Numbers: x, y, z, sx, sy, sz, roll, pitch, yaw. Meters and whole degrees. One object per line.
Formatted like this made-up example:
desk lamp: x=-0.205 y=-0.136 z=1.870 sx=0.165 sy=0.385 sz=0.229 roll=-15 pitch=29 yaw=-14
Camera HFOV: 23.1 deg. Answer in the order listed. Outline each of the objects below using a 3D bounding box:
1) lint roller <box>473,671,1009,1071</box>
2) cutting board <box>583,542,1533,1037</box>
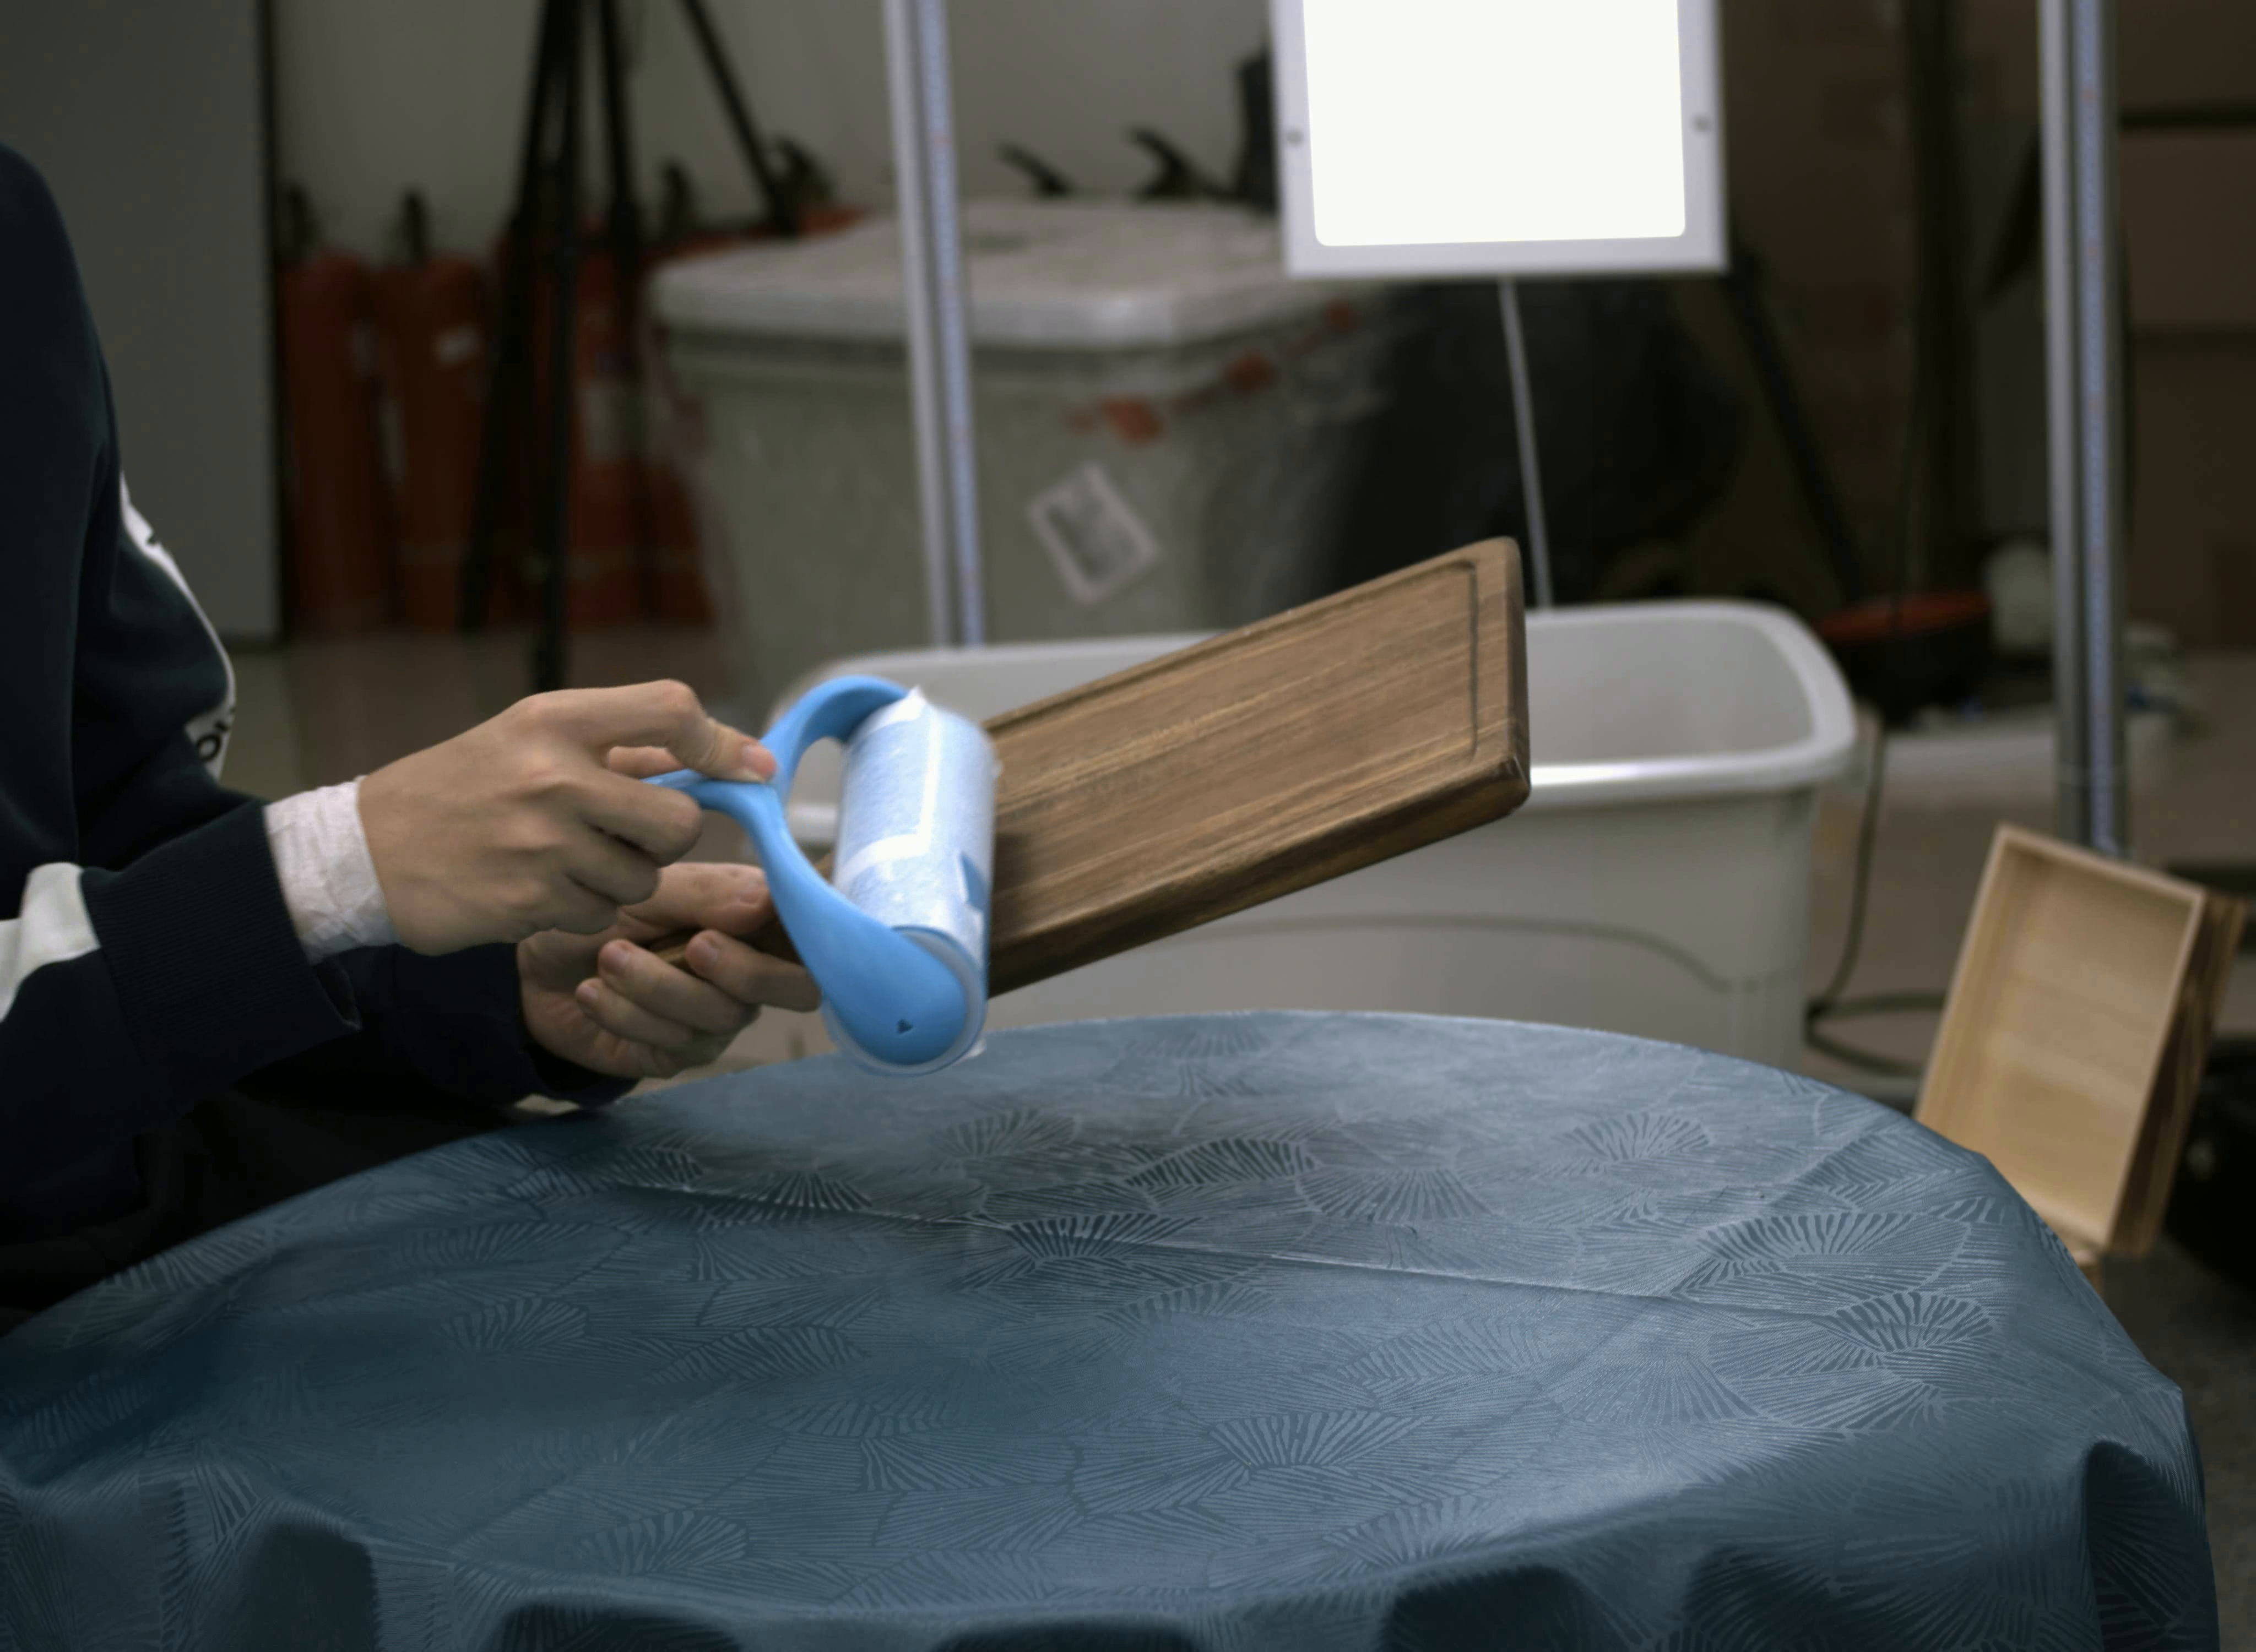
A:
lint roller: x=-0.126 y=0.011 z=1.826 sx=0.179 sy=0.068 sz=0.228 roll=3 pitch=25 yaw=-4
cutting board: x=-0.027 y=0.001 z=1.910 sx=0.355 sy=0.023 sz=0.200 roll=-20 pitch=21 yaw=13
